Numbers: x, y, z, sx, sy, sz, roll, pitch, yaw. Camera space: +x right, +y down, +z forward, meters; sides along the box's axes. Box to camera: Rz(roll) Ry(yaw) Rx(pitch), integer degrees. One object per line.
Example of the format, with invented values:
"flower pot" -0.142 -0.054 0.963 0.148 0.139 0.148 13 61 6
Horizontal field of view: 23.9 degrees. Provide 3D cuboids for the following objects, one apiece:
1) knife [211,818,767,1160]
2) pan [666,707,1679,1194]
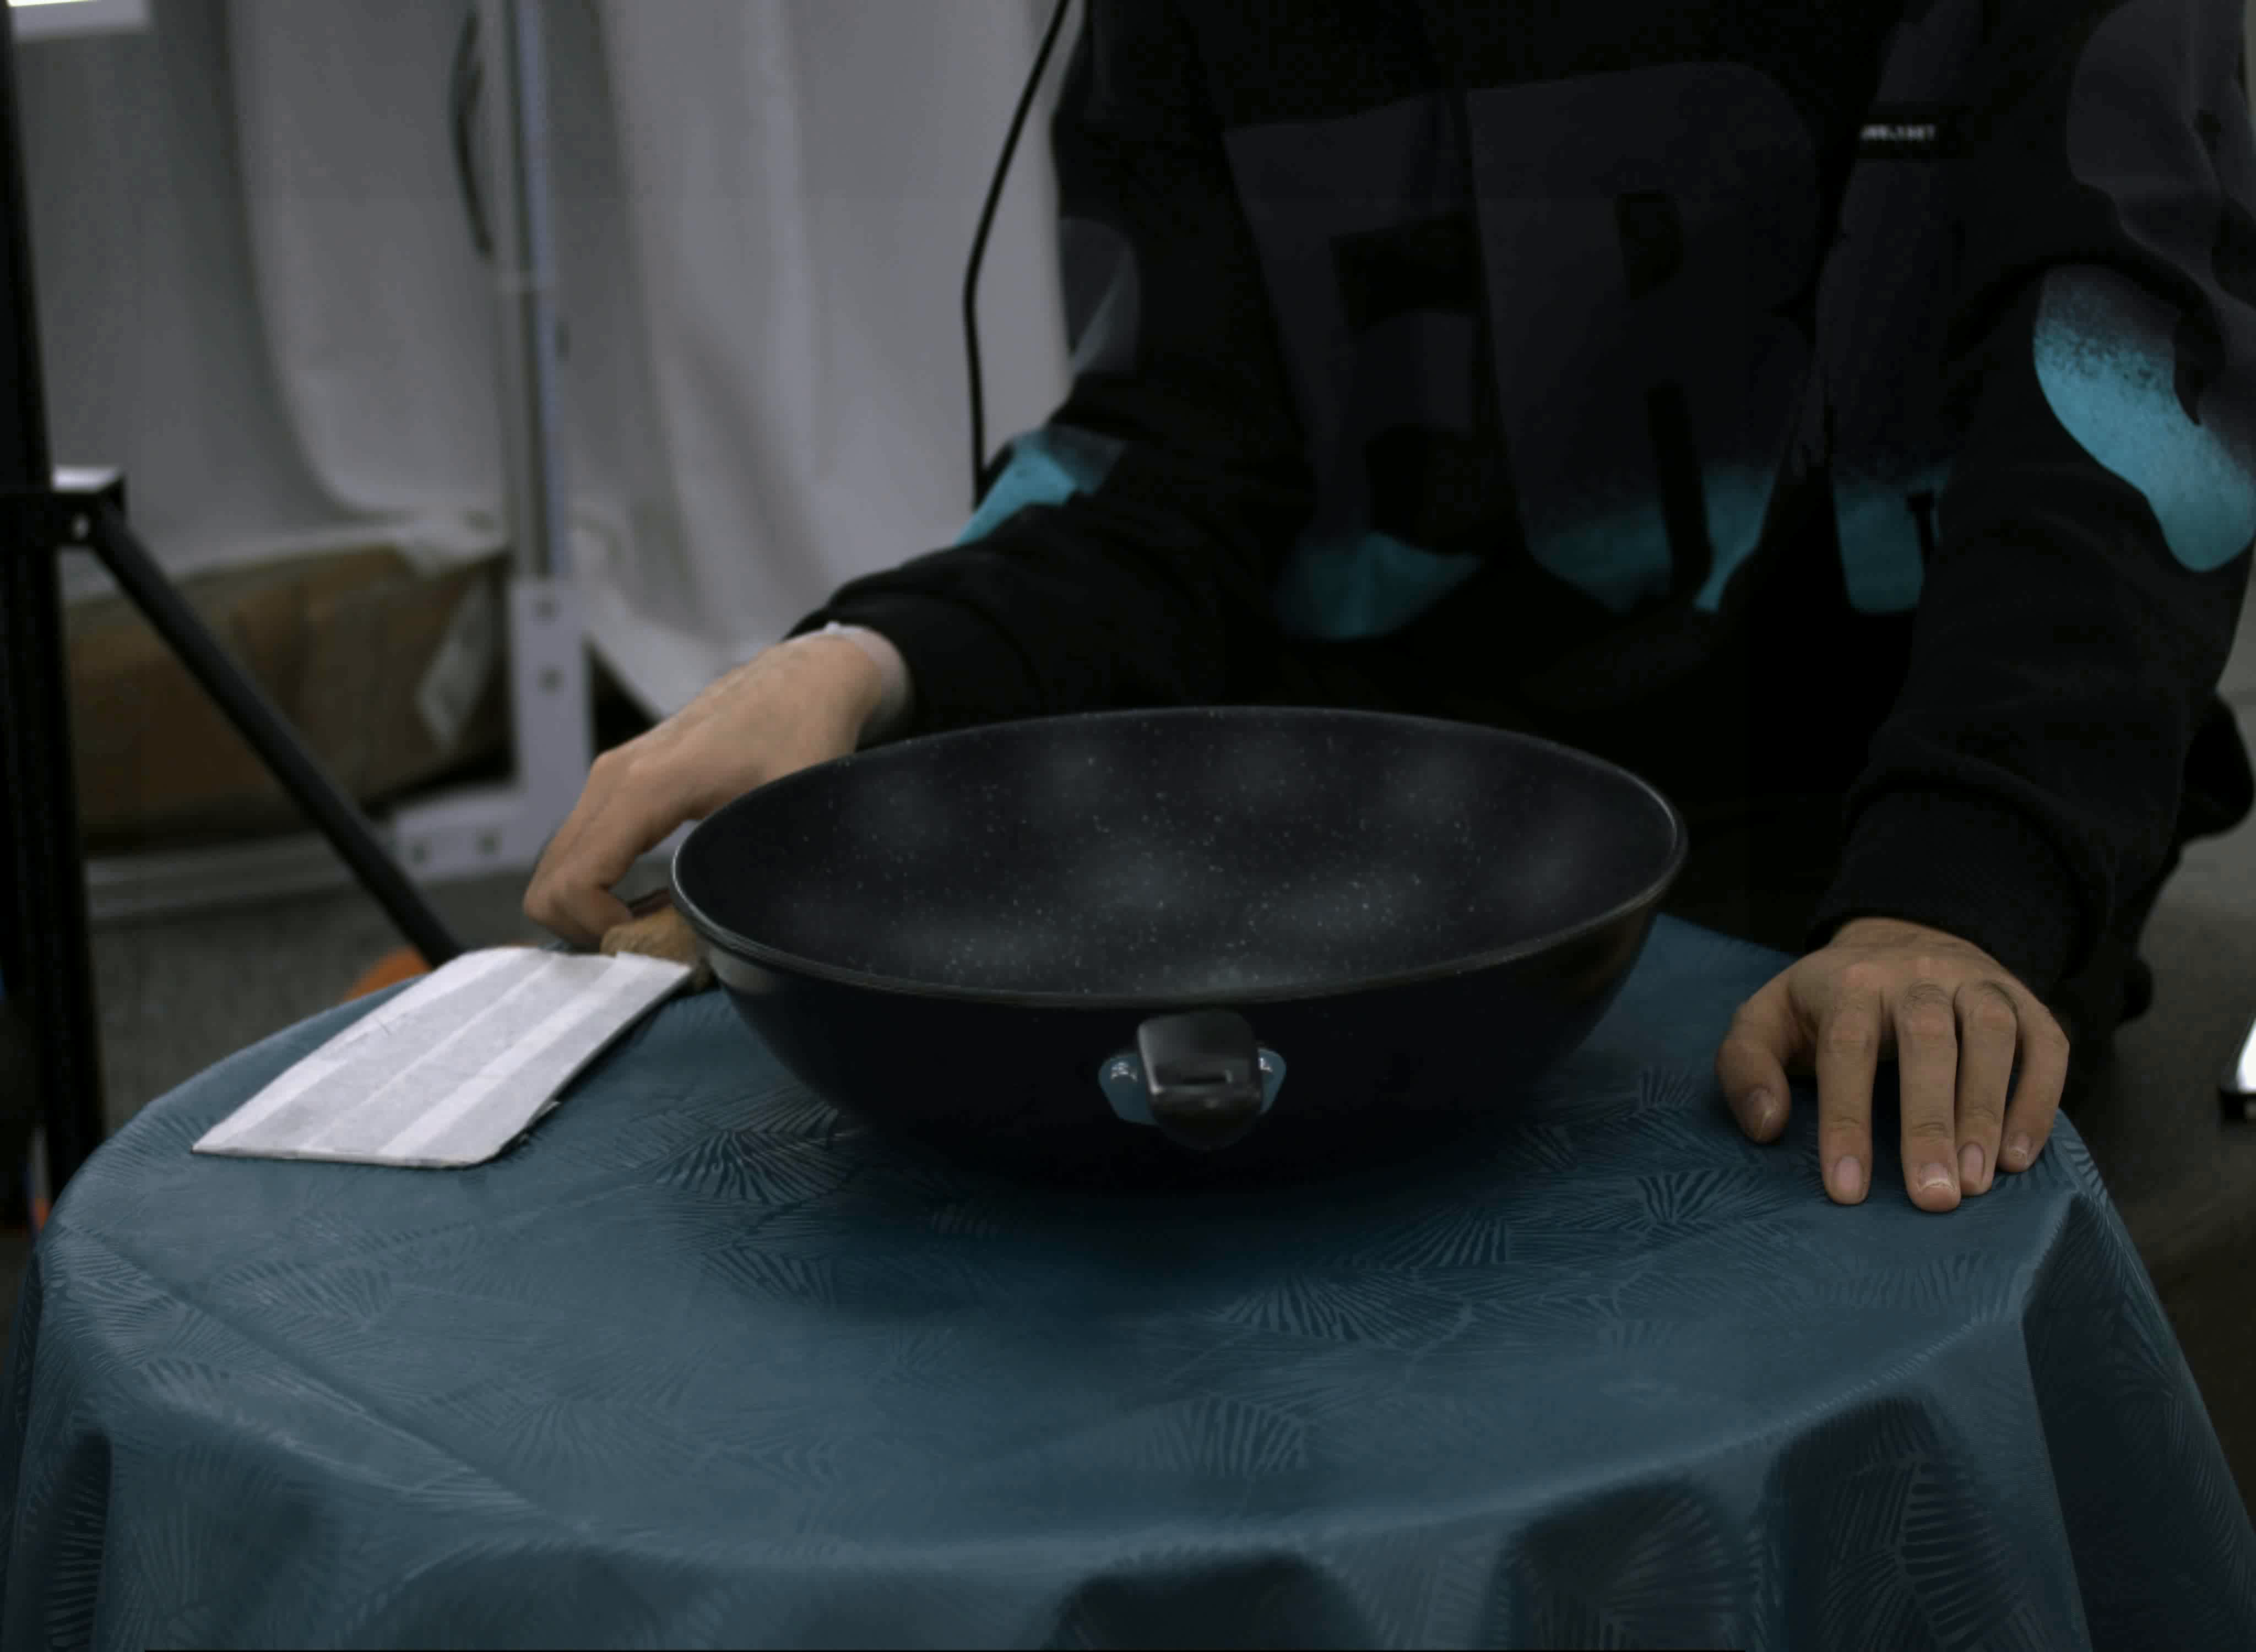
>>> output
"knife" -0.182 0.054 1.748 0.115 0.022 0.311 4 20 25
"pan" 0.016 0.056 1.545 0.309 0.111 0.479 -4 16 1
